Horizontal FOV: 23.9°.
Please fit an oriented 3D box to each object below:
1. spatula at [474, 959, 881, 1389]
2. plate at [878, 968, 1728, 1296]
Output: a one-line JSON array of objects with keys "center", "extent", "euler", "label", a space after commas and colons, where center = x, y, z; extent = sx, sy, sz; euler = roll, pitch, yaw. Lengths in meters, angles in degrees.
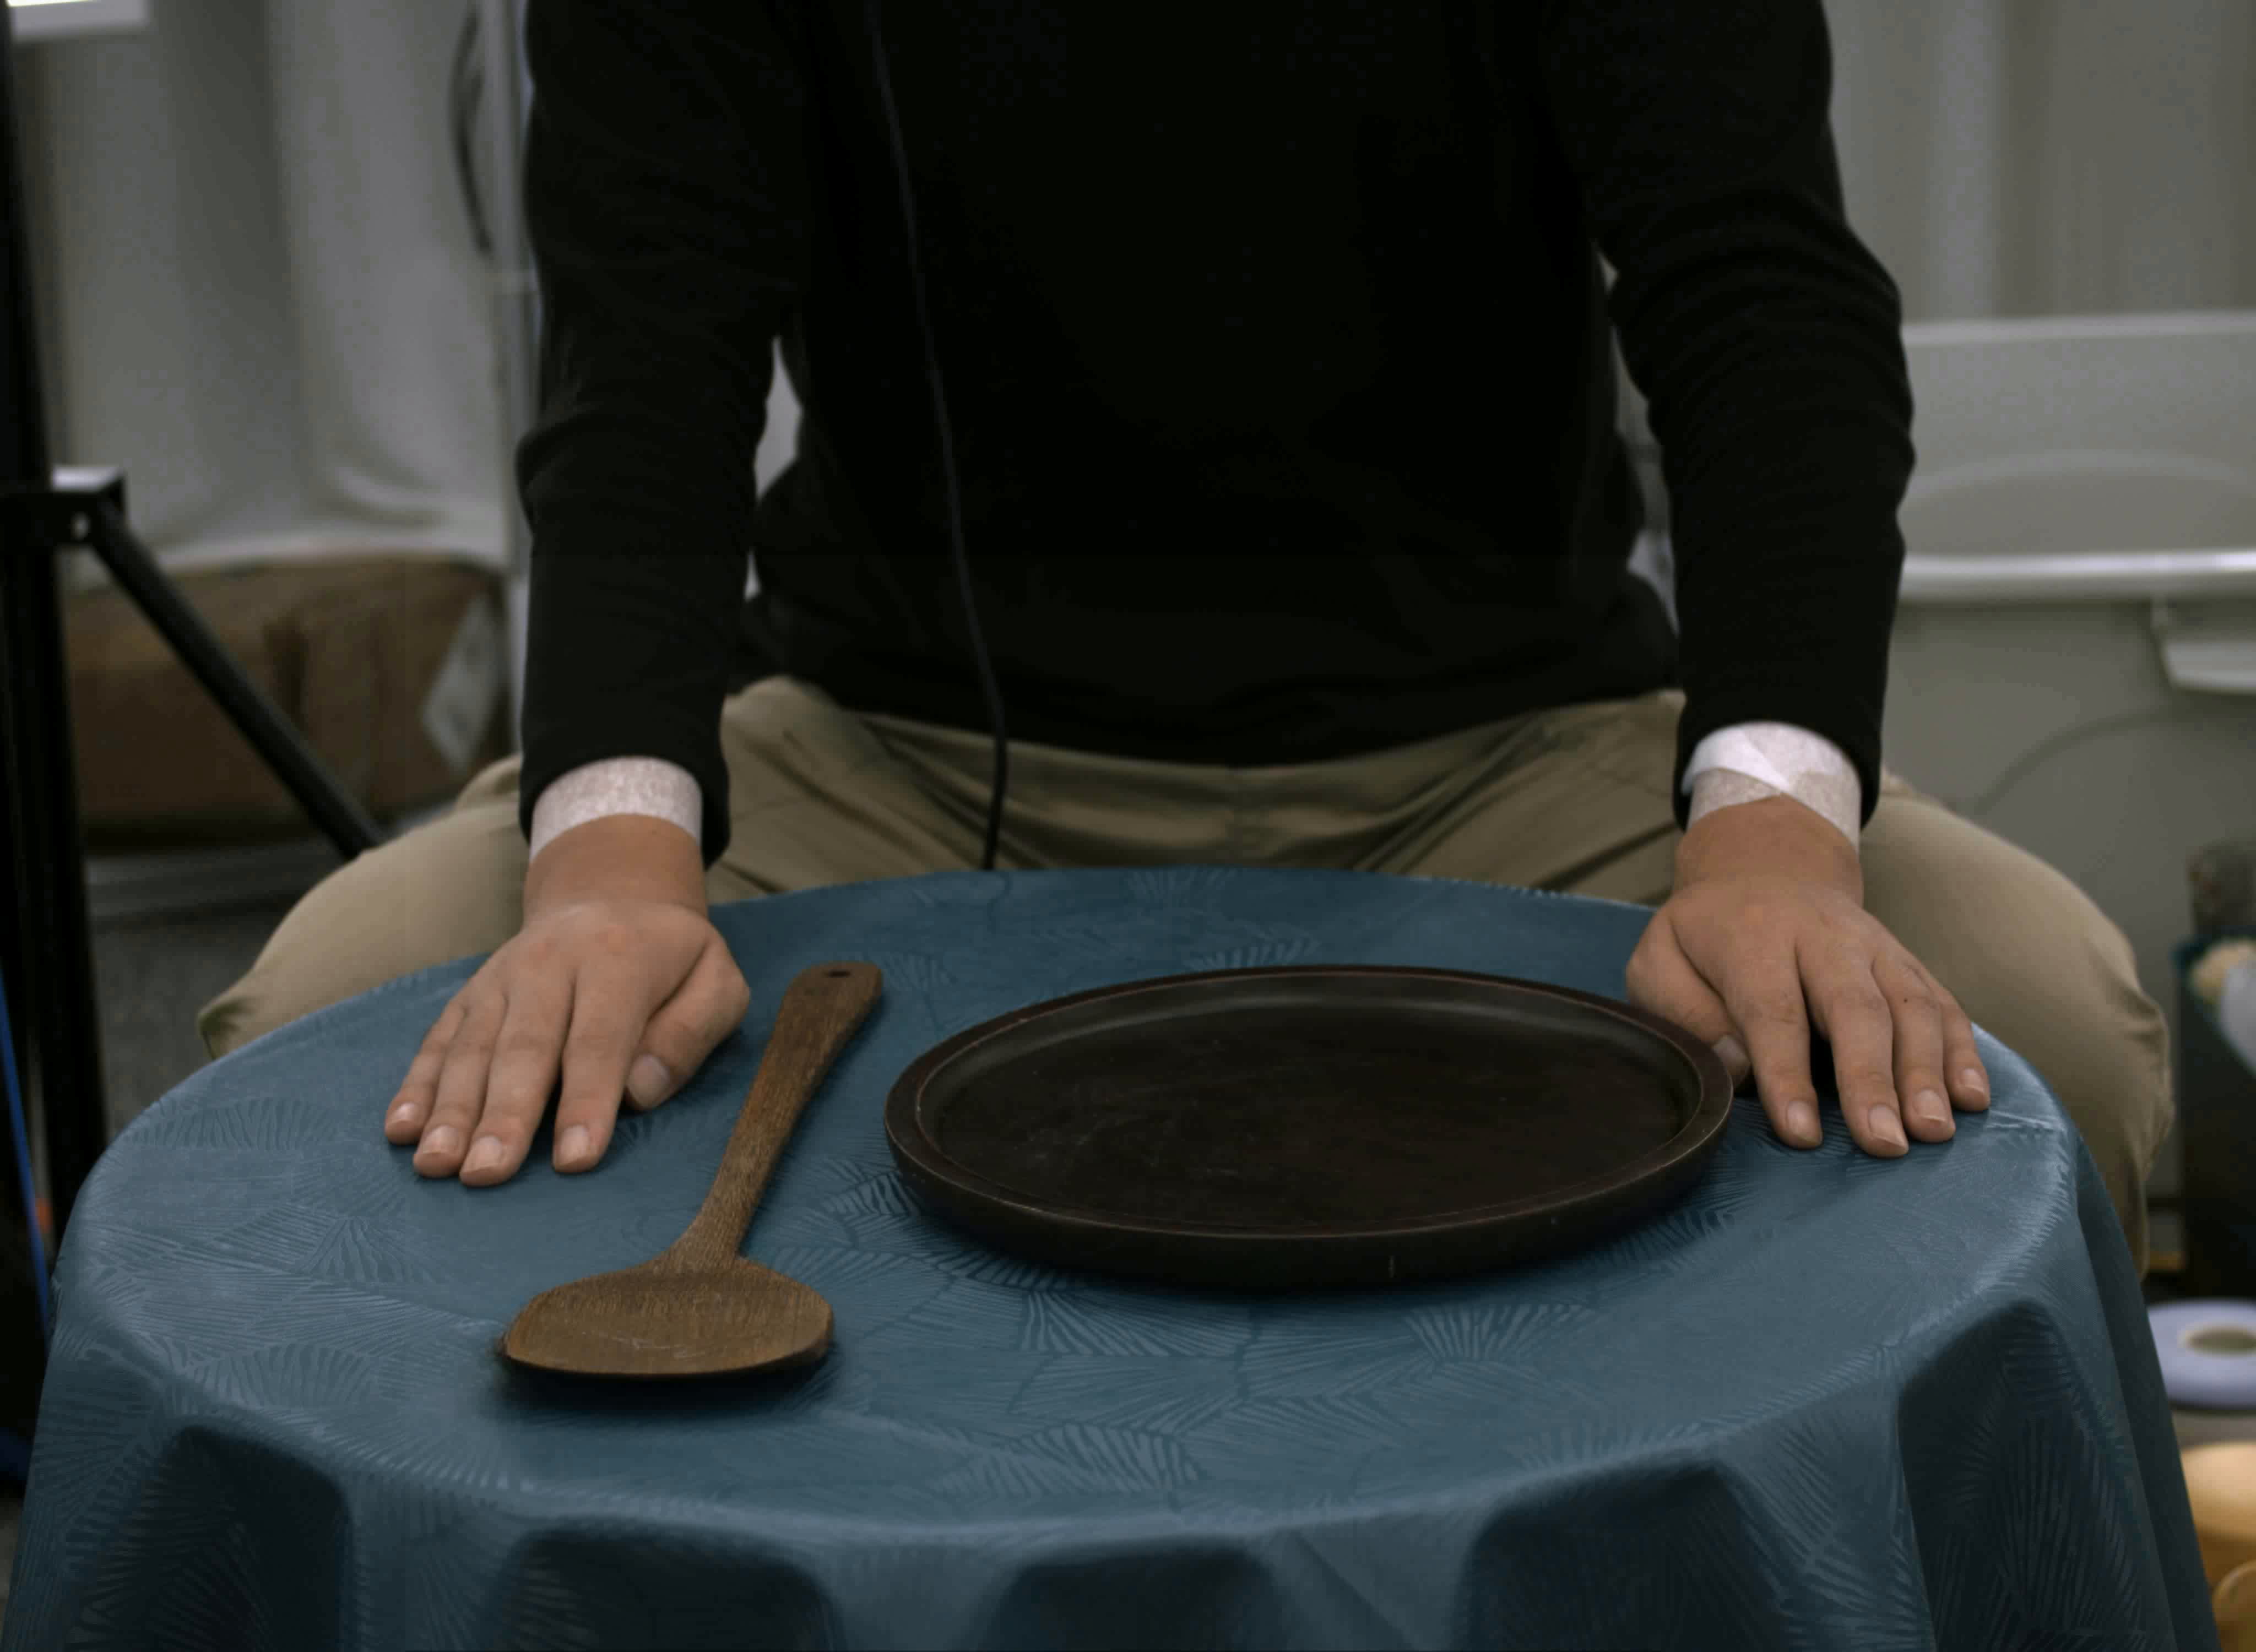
[{"center": [-0.112, 0.097, 1.588], "extent": [0.096, 0.016, 0.385], "euler": [0, 16, 6], "label": "spatula"}, {"center": [0.052, 0.088, 1.575], "extent": [0.253, 0.029, 0.256], "euler": [-4, 15, 0], "label": "plate"}]
